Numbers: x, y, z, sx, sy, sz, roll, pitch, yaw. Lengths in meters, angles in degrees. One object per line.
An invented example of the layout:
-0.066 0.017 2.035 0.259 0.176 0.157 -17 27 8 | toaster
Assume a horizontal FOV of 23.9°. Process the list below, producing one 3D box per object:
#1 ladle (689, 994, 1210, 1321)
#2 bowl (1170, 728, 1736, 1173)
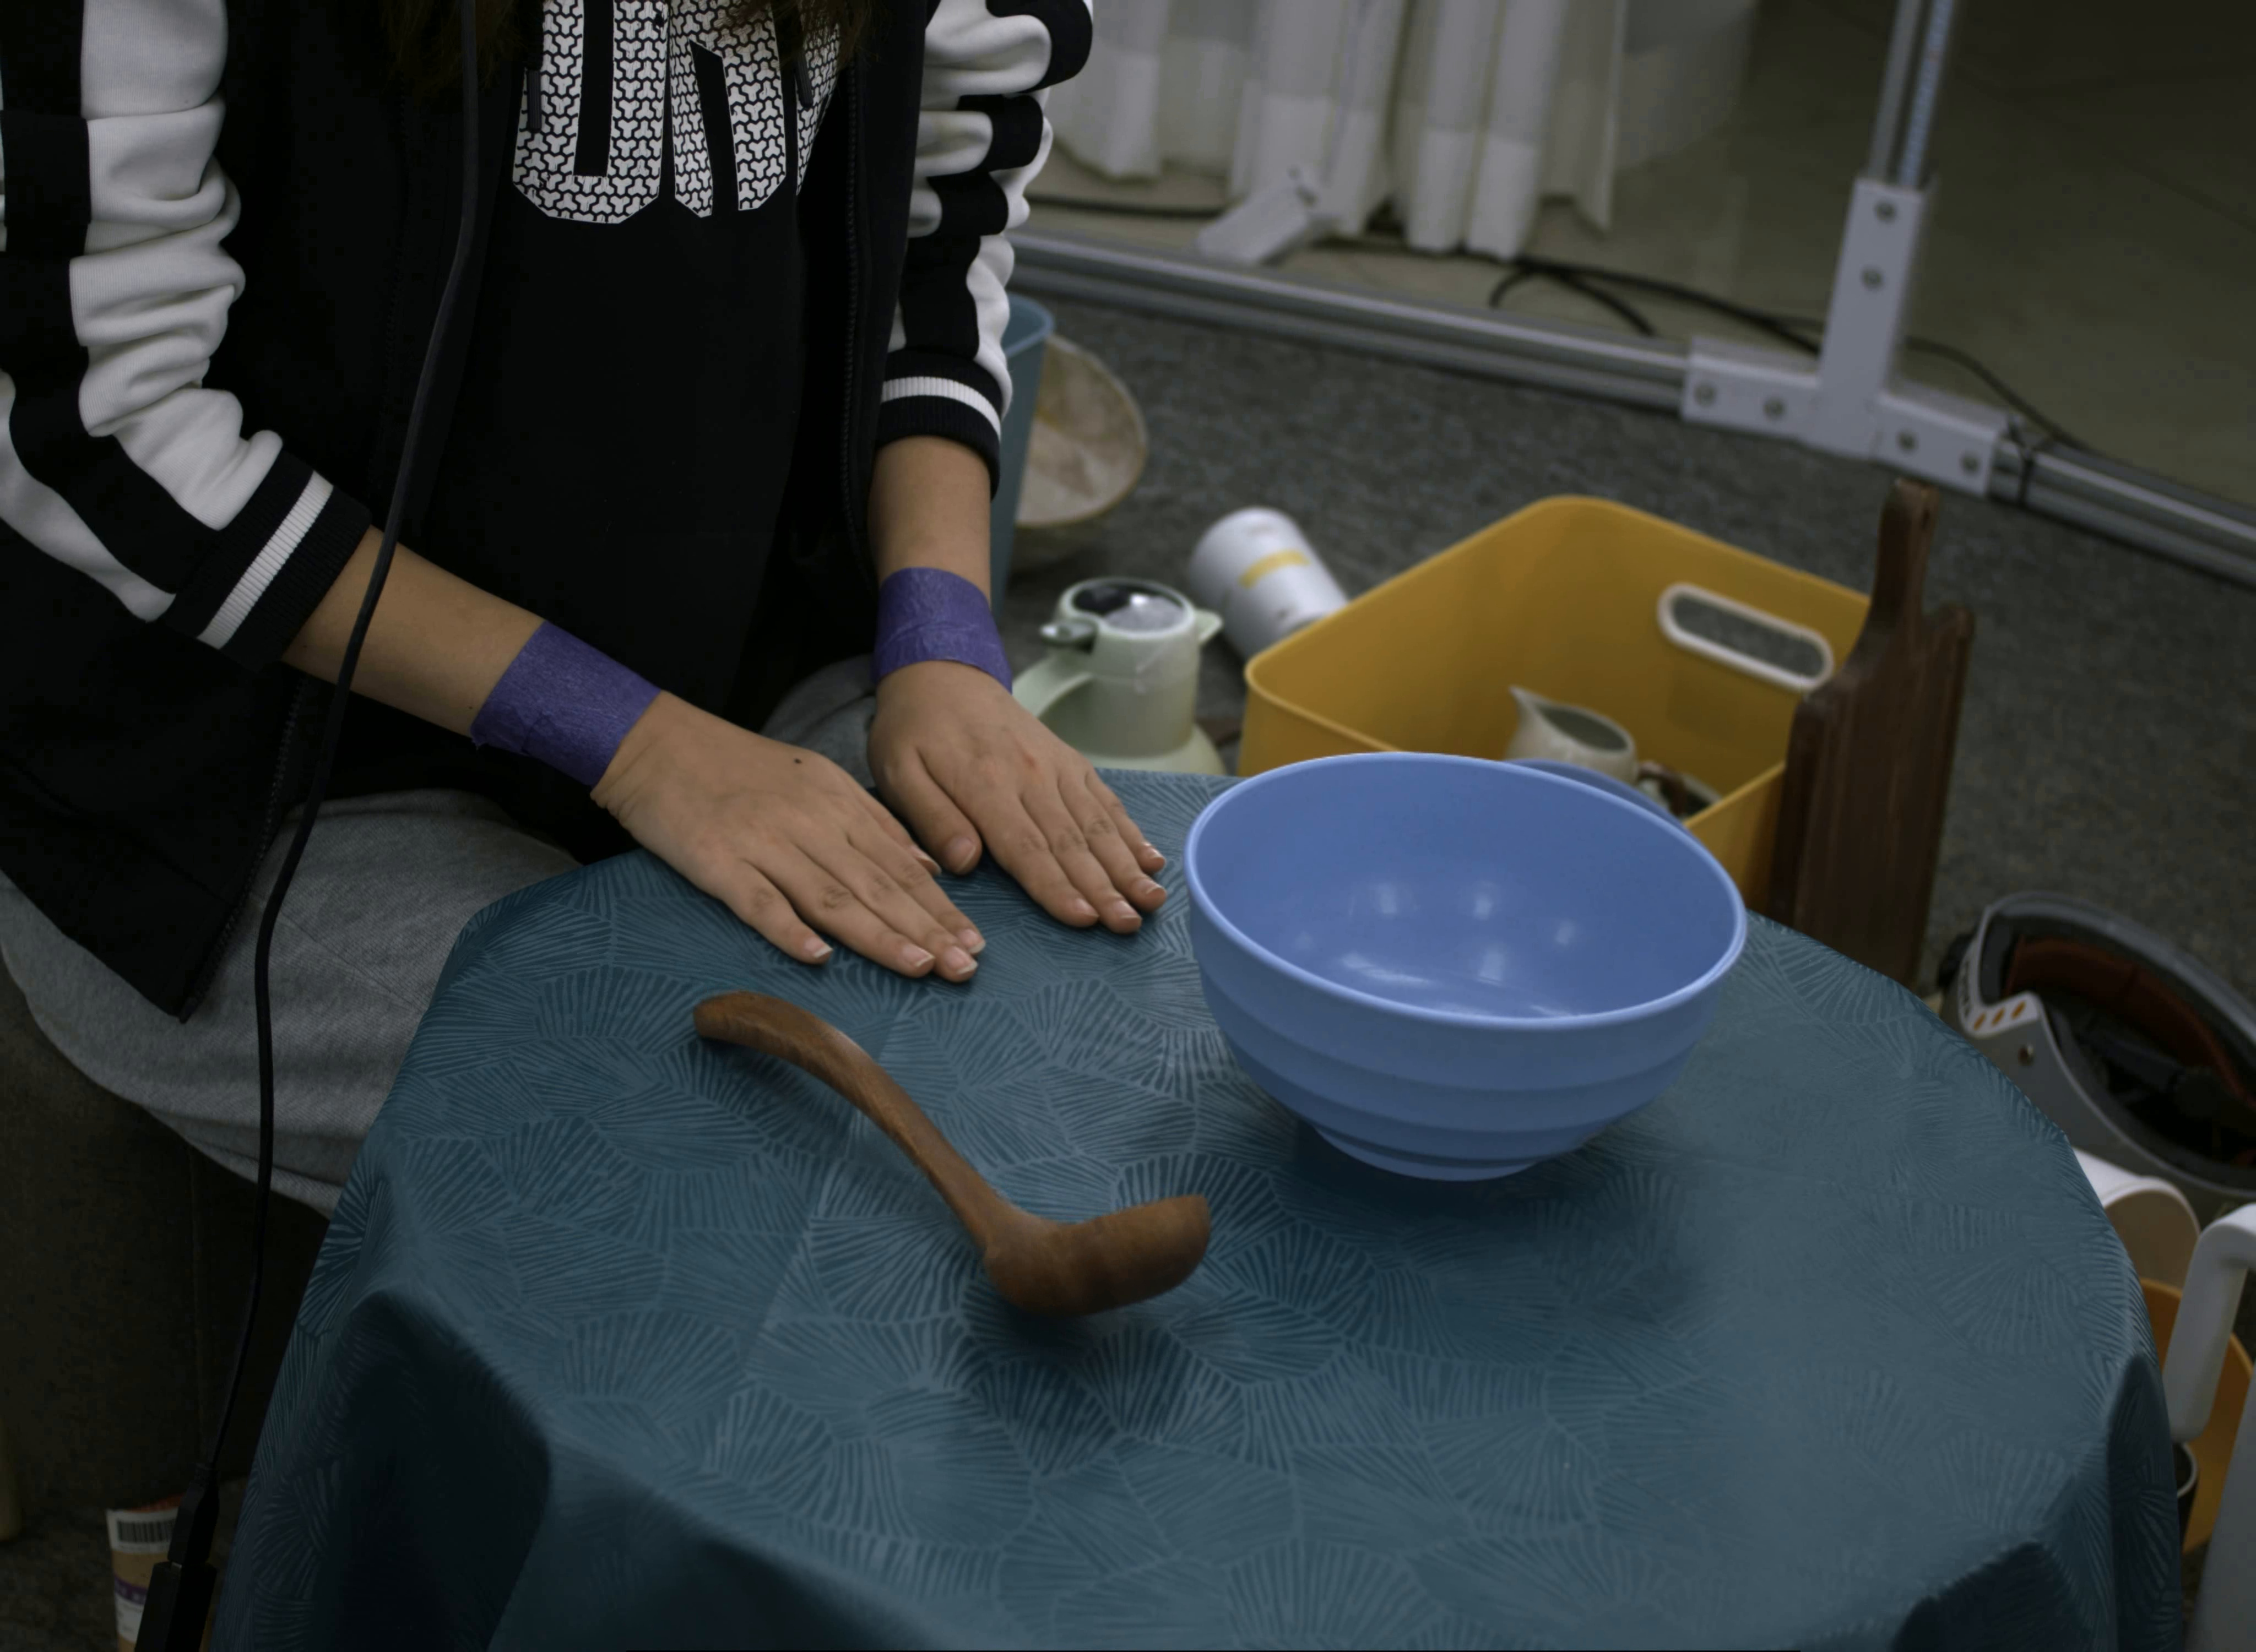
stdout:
-0.068 0.095 1.773 0.076 0.065 0.262 -7 29 -37 | ladle
0.109 0.056 1.856 0.196 0.095 0.198 3 33 -2 | bowl
